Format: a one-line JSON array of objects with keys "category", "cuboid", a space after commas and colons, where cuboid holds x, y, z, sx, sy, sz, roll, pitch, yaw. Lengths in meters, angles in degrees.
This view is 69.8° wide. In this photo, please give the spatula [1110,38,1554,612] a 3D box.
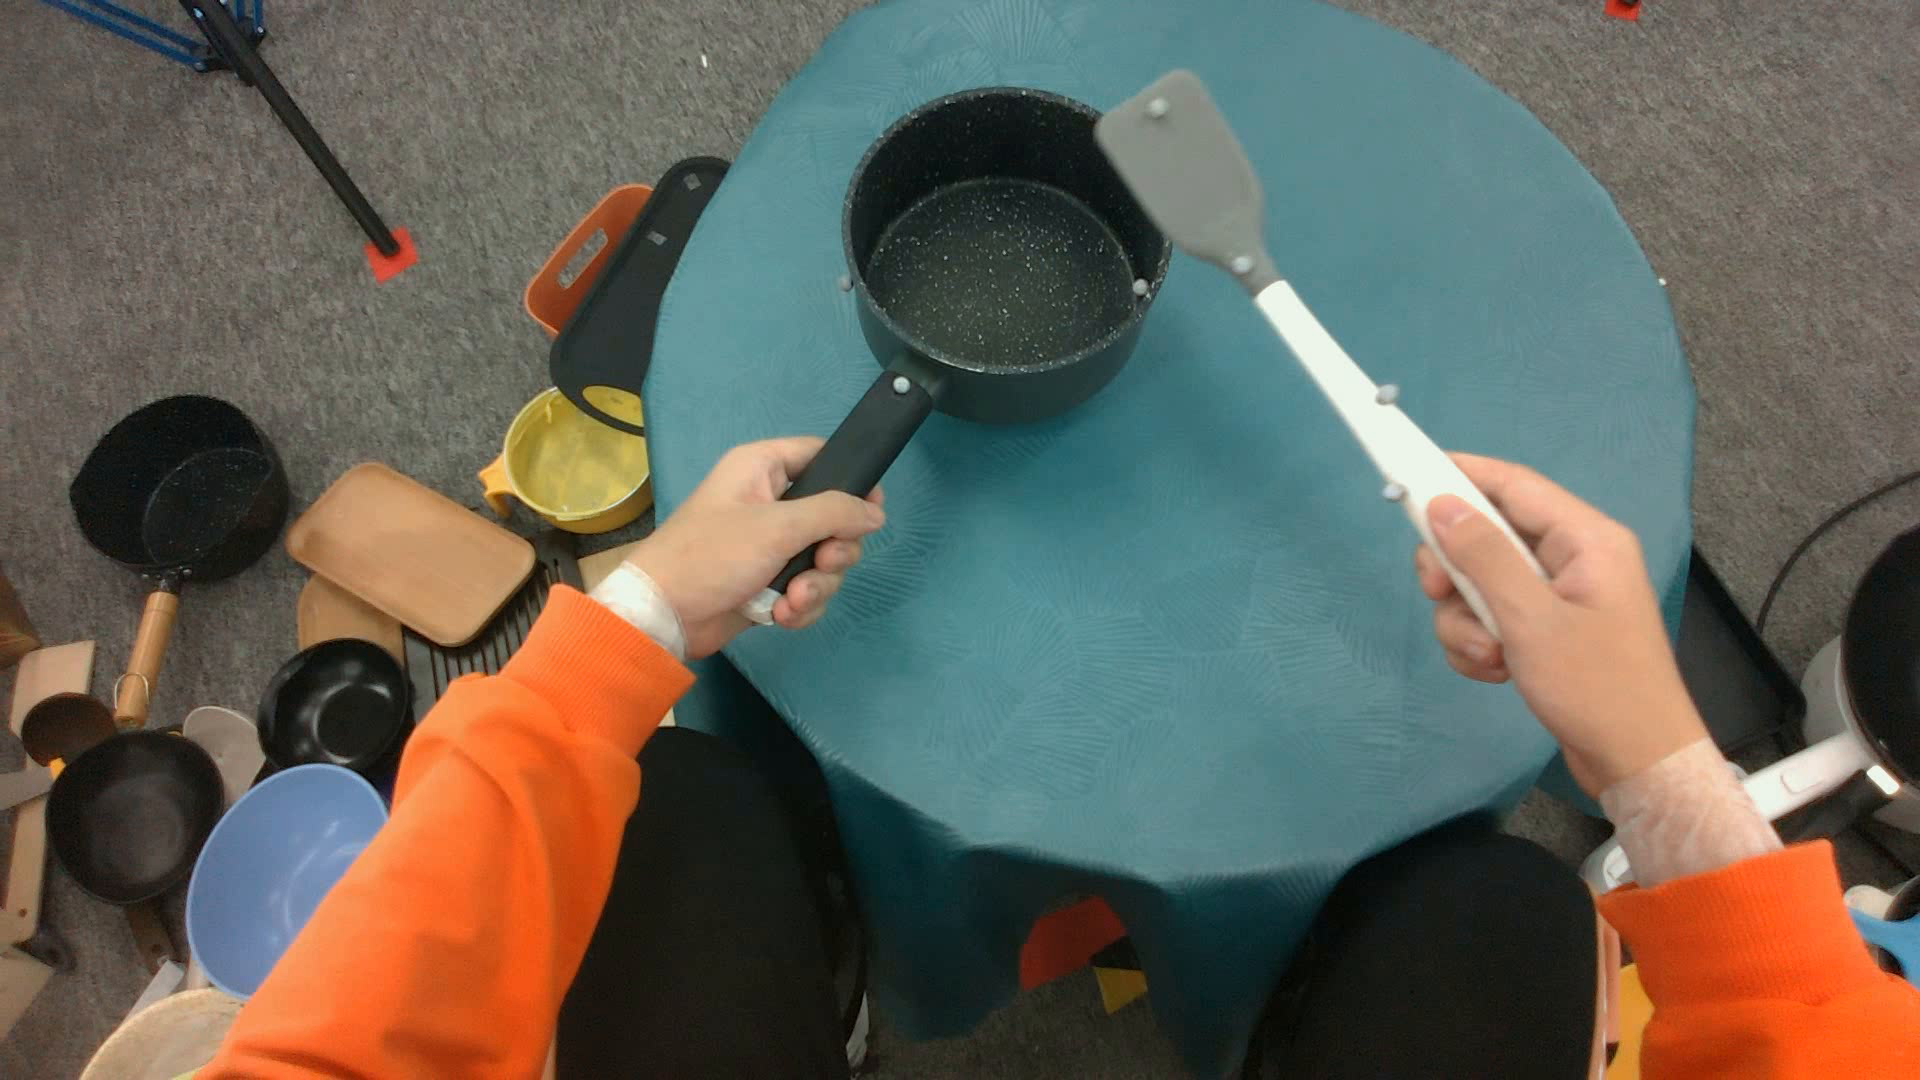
[{"category": "spatula", "cuboid": [0.158, -0.098, 0.597, 0.058, 0.032, 0.288, -31, 73, 5]}]

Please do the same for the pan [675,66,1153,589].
[{"category": "pan", "cuboid": [-0.029, -0.099, 0.712, 0.172, 0.086, 0.330, 31, 70, 10]}]
